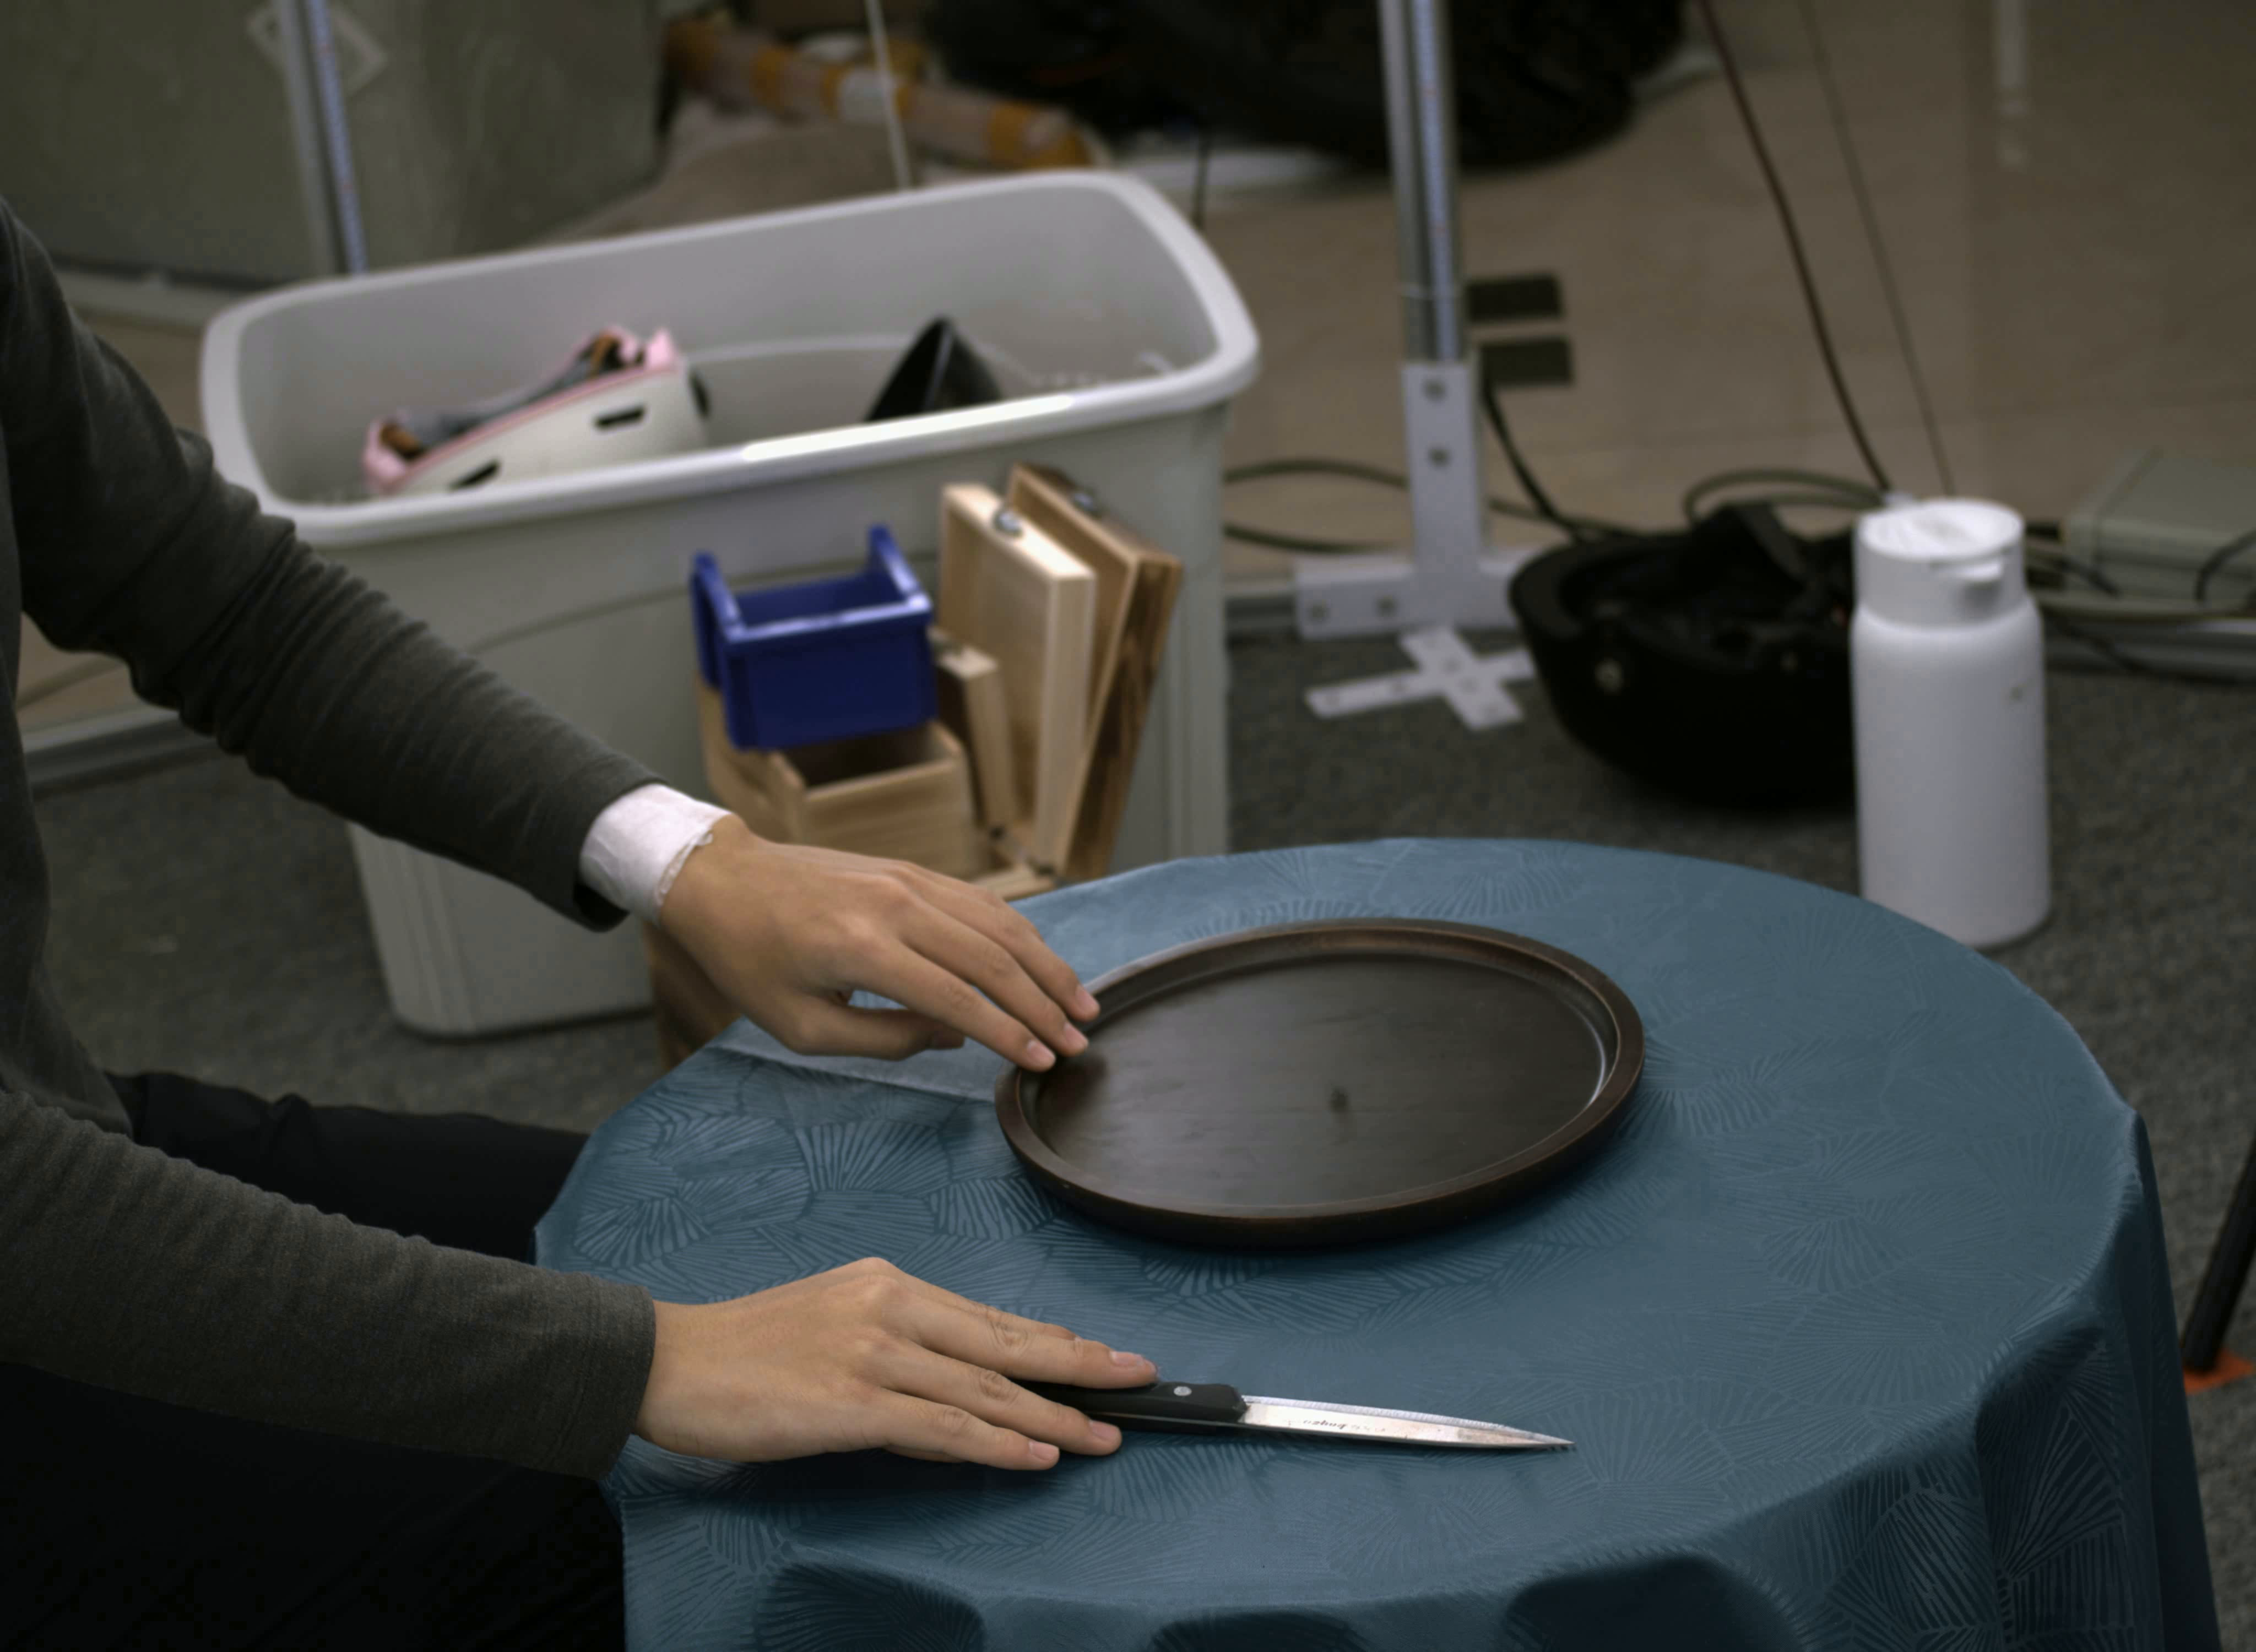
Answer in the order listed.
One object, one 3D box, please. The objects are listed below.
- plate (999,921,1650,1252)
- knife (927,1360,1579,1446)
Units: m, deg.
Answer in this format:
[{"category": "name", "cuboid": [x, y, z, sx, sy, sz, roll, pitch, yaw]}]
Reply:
[{"category": "plate", "cuboid": [0.076, 0.099, 2.192, 0.254, 0.029, 0.251, -4, 24, 2]}, {"category": "knife", "cuboid": [0.041, 0.205, 1.985, 0.237, 0.016, 0.024, 4, 23, 16]}]
